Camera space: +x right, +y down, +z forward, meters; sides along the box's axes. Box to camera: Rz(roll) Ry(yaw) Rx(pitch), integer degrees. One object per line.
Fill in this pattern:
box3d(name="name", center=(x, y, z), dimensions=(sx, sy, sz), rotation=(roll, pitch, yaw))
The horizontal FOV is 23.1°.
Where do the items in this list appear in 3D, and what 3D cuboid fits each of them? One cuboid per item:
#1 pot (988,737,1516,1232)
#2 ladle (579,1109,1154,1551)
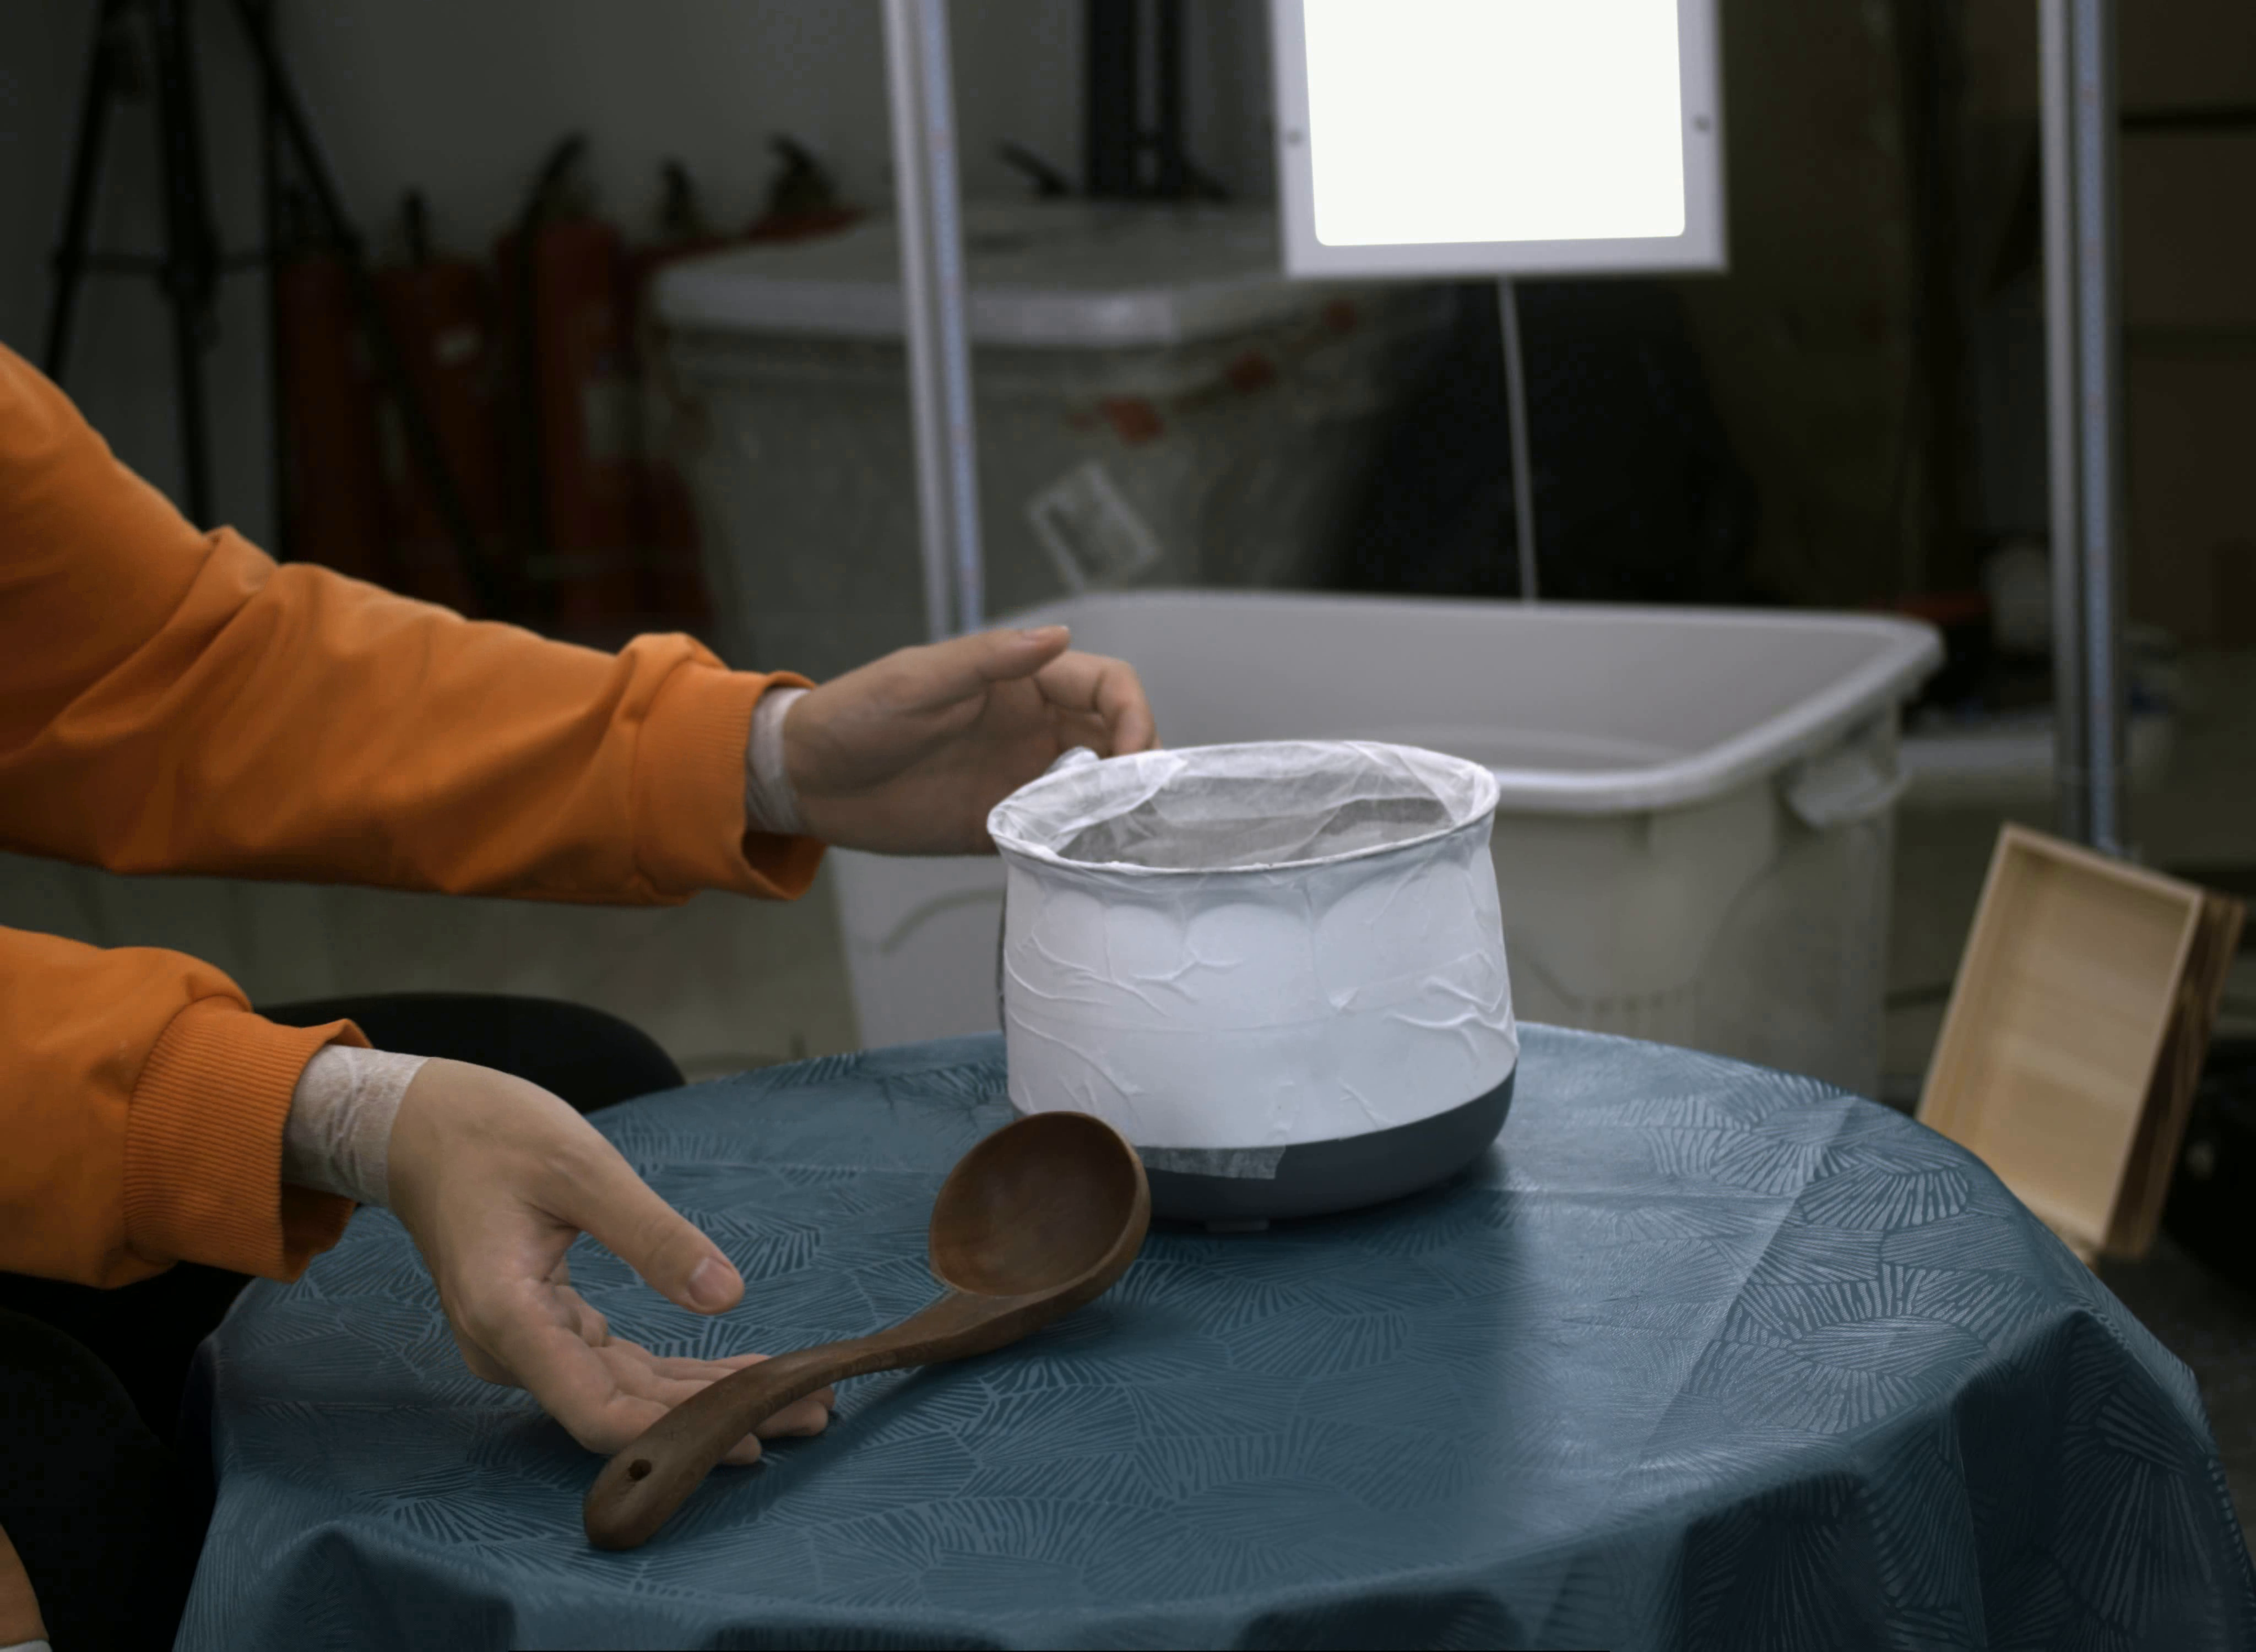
box3d(name="pot", center=(0.028, 0.048, 1.915), dimensions=(0.174, 0.137, 0.238), rotation=(-14, 17, -33))
box3d(name="ladle", center=(-0.083, 0.151, 1.695), dimensions=(0.078, 0.065, 0.254), rotation=(3, 15, 37))
